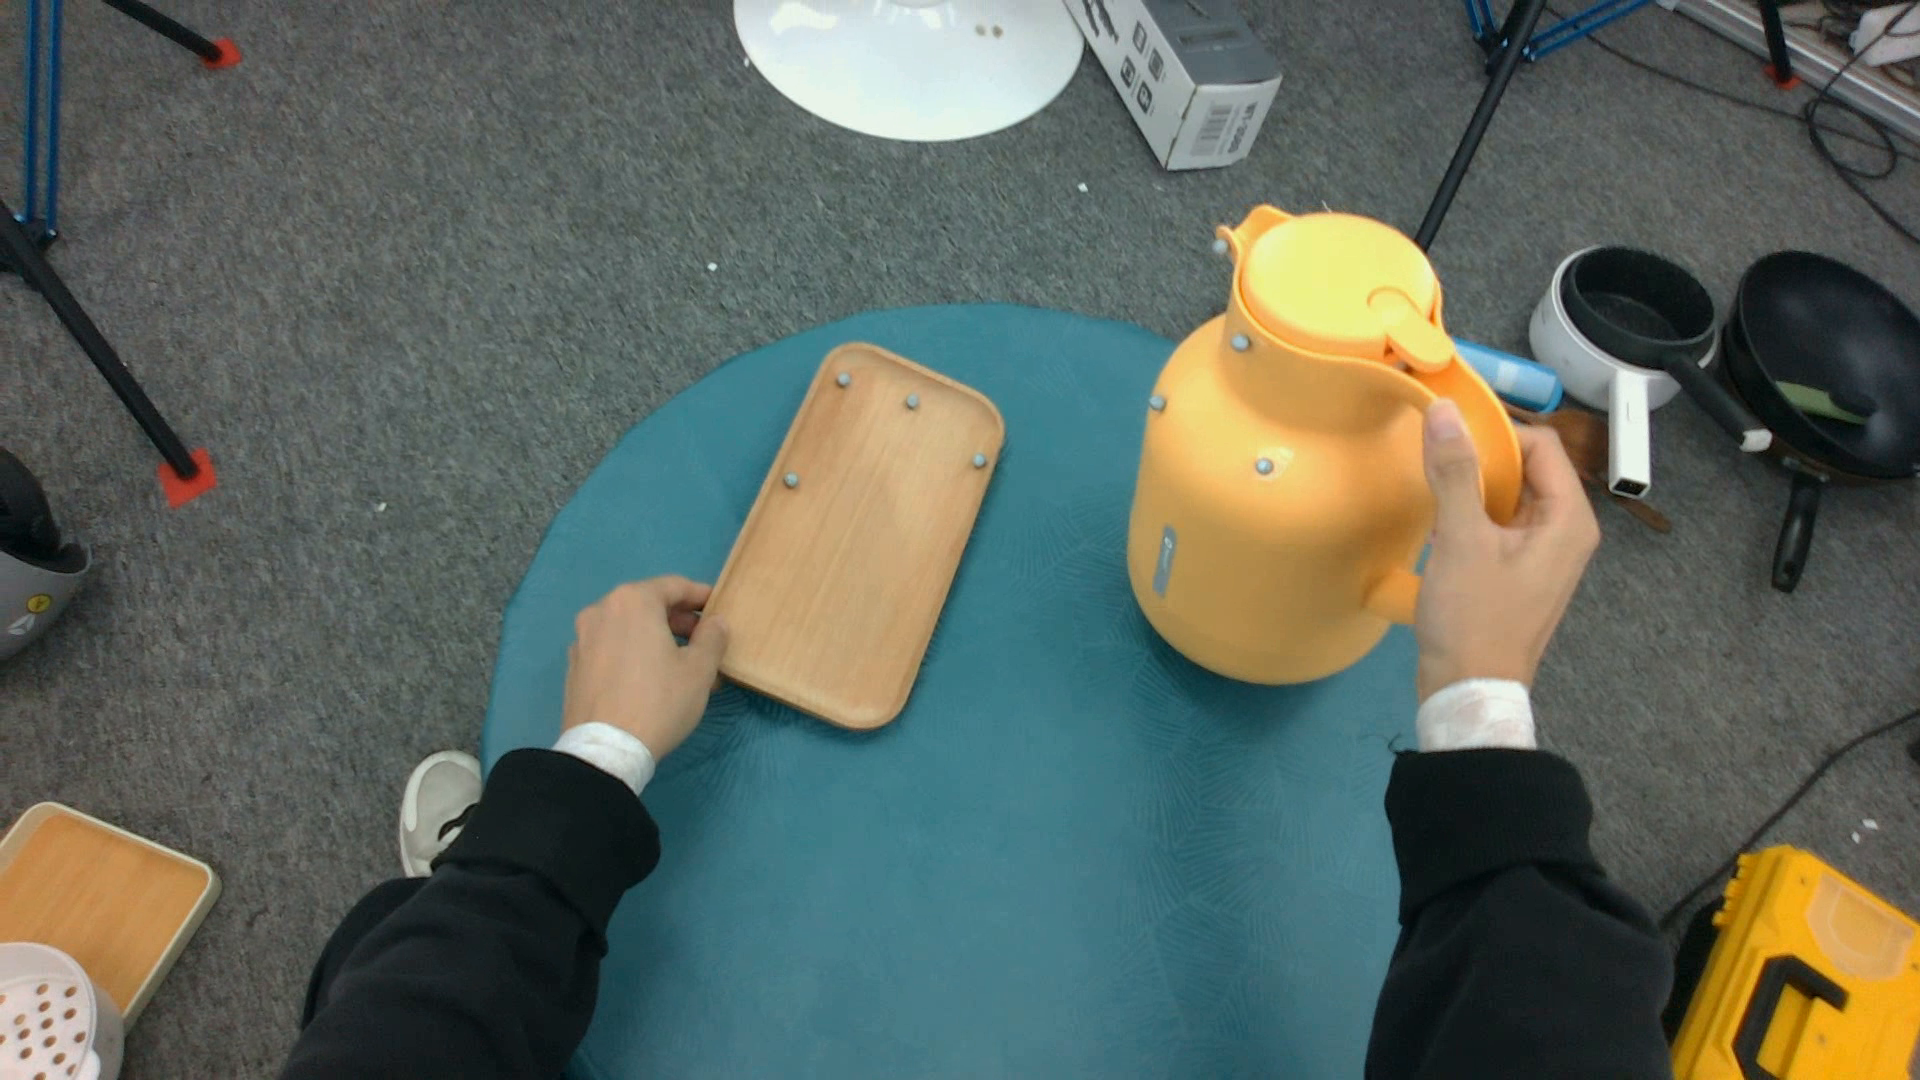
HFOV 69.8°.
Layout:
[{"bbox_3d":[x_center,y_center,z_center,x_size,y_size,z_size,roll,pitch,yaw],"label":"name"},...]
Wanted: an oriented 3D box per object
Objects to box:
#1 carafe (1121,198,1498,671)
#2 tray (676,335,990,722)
[{"bbox_3d":[0.183,-0.041,0.735,0.164,0.259,0.203,-27,55,-17],"label":"carafe"},{"bbox_3d":[-0.071,-0.013,0.836,0.130,0.023,0.252,23,59,-2],"label":"tray"}]
